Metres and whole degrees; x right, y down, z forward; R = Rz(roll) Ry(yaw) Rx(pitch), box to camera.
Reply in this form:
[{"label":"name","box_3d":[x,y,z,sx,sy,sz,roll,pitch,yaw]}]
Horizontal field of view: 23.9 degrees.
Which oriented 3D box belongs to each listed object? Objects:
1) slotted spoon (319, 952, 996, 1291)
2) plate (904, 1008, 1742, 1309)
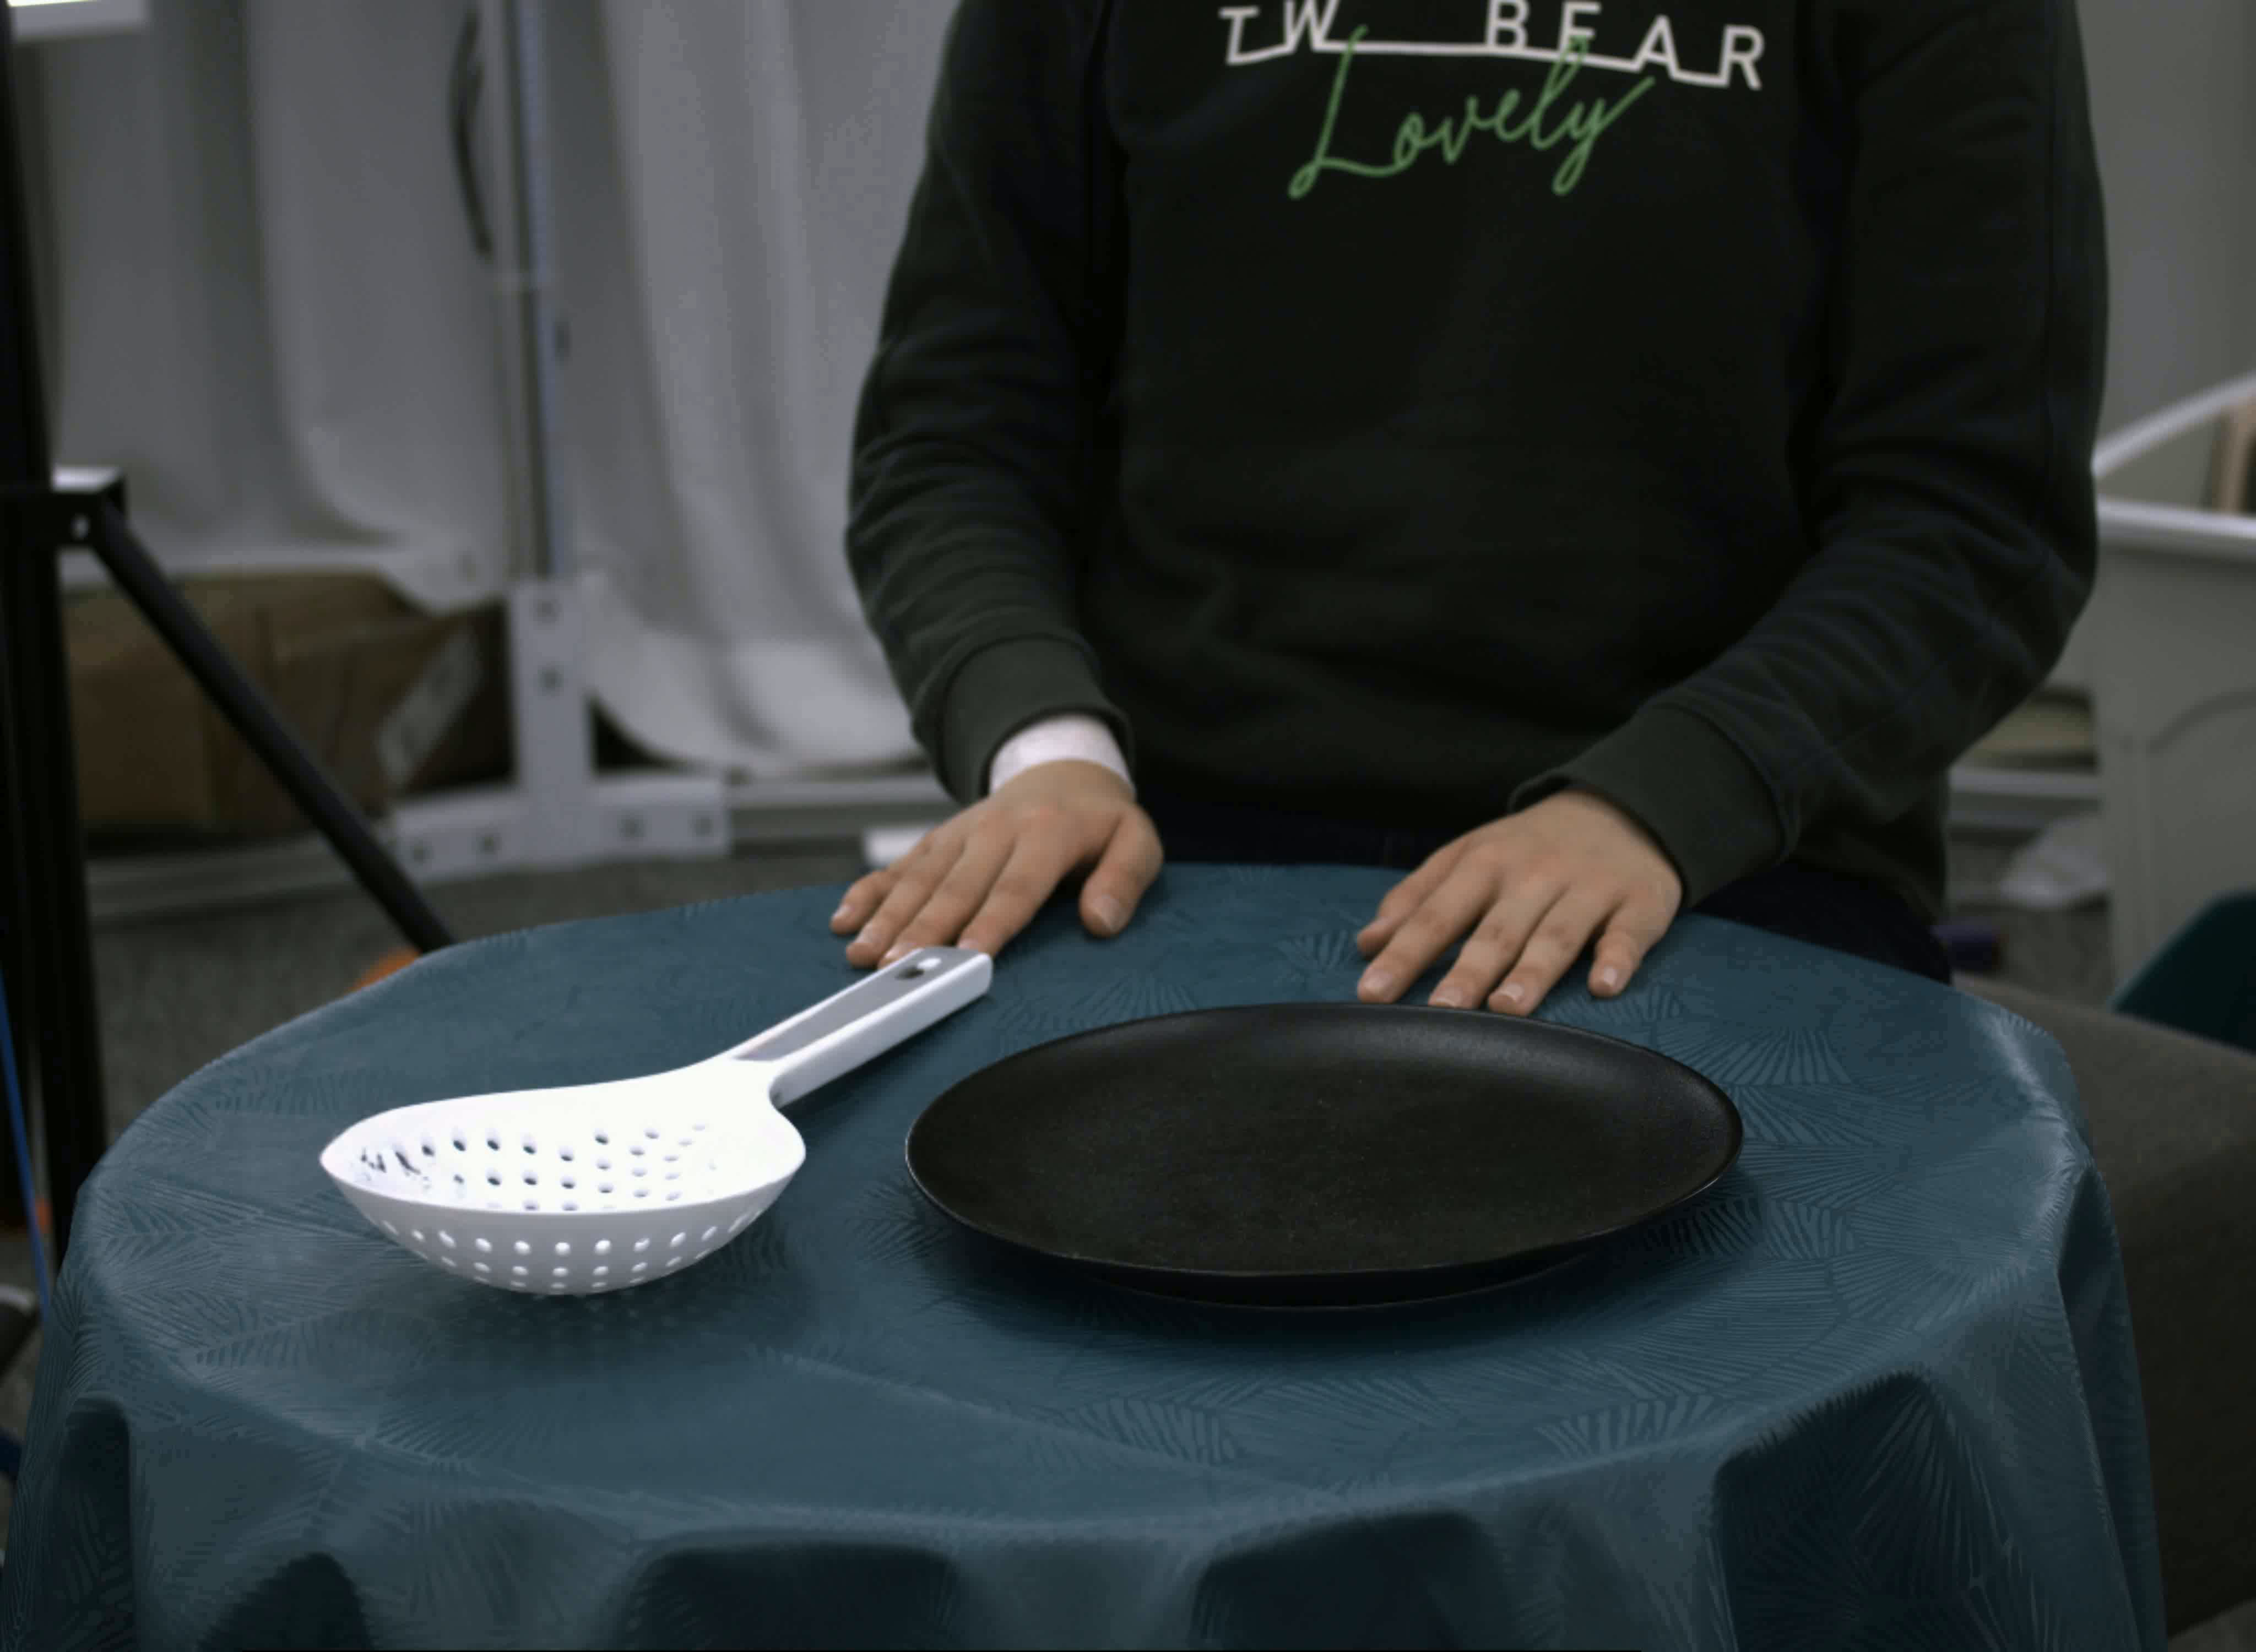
[{"label":"slotted spoon","box_3d":[-0.119,0.079,1.597,0.138,0.046,0.345,6,17,21]},{"label":"plate","box_3d":[0.057,0.099,1.539,0.243,0.023,0.245,-3,15,-1]}]
